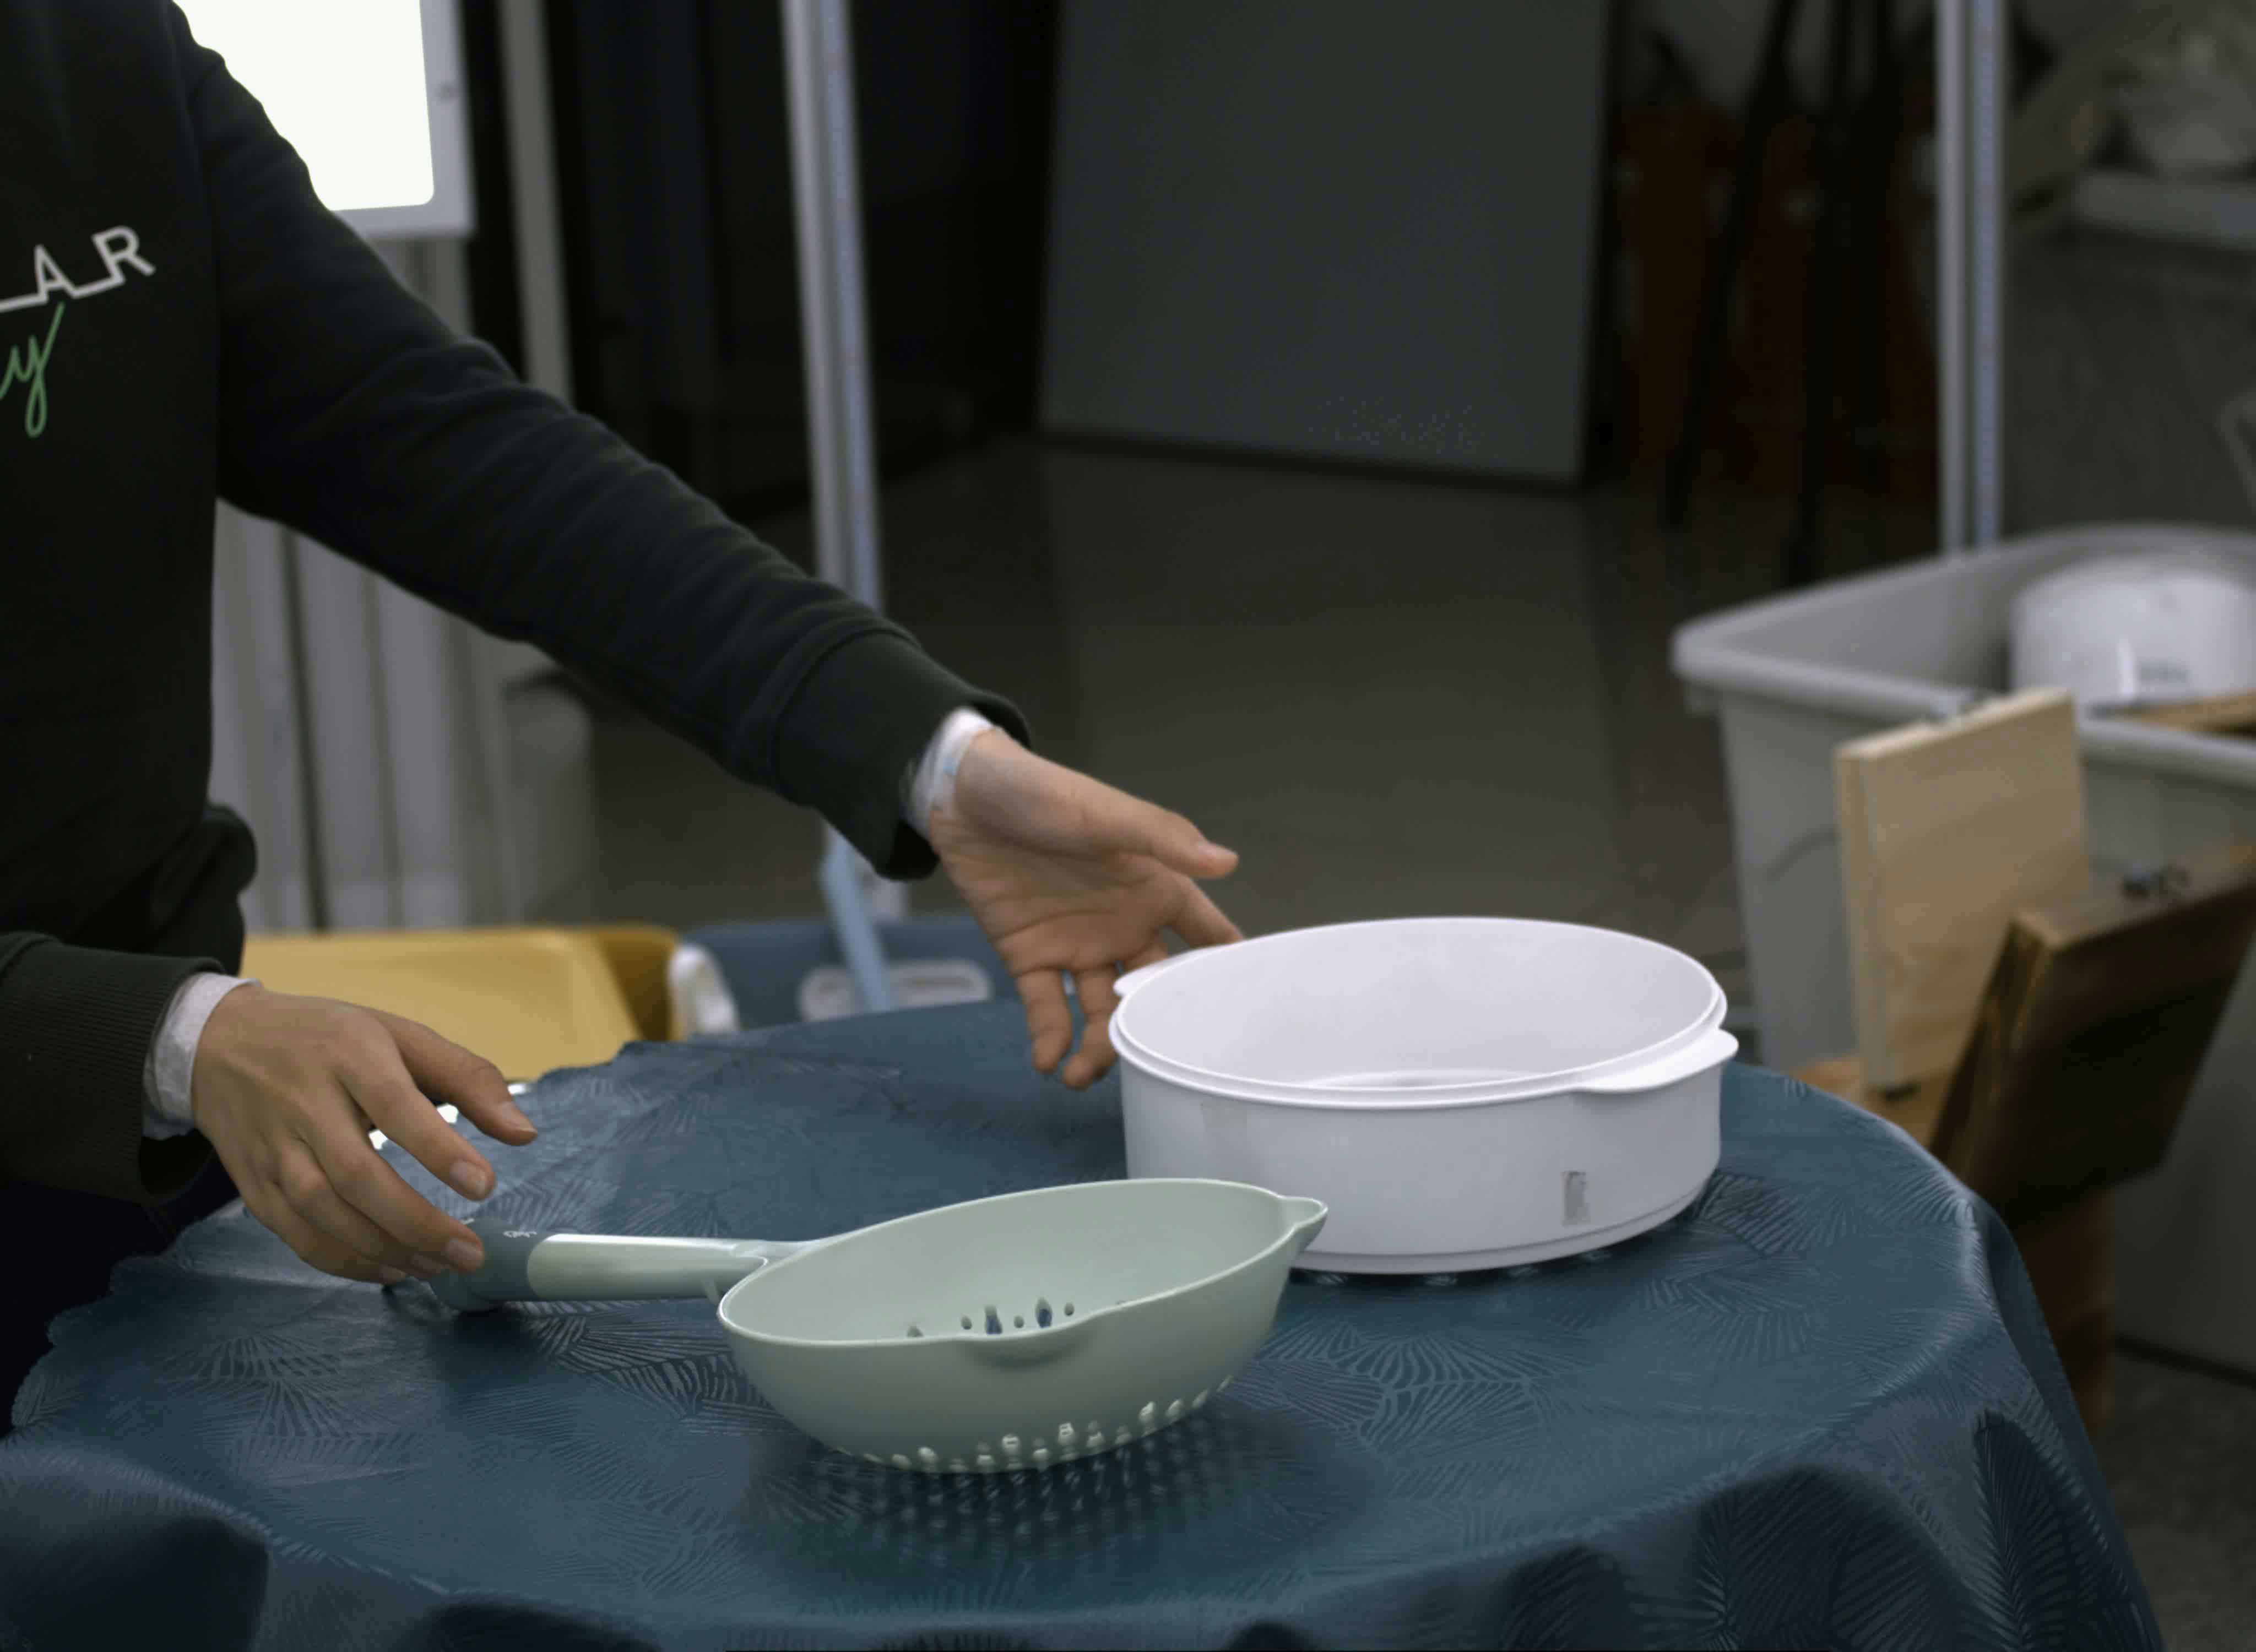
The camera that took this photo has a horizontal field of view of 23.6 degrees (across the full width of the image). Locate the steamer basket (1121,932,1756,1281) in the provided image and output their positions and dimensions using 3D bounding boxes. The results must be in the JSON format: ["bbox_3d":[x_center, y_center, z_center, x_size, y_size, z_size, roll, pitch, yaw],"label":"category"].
[{"bbox_3d":[0.098,0.090,1.735,0.232,0.070,0.198,8,17,42],"label":"steamer basket"}]

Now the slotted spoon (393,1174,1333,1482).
[{"bbox_3d":[-0.101,0.137,1.601,0.362,0.076,0.166,9,18,42],"label":"slotted spoon"}]
